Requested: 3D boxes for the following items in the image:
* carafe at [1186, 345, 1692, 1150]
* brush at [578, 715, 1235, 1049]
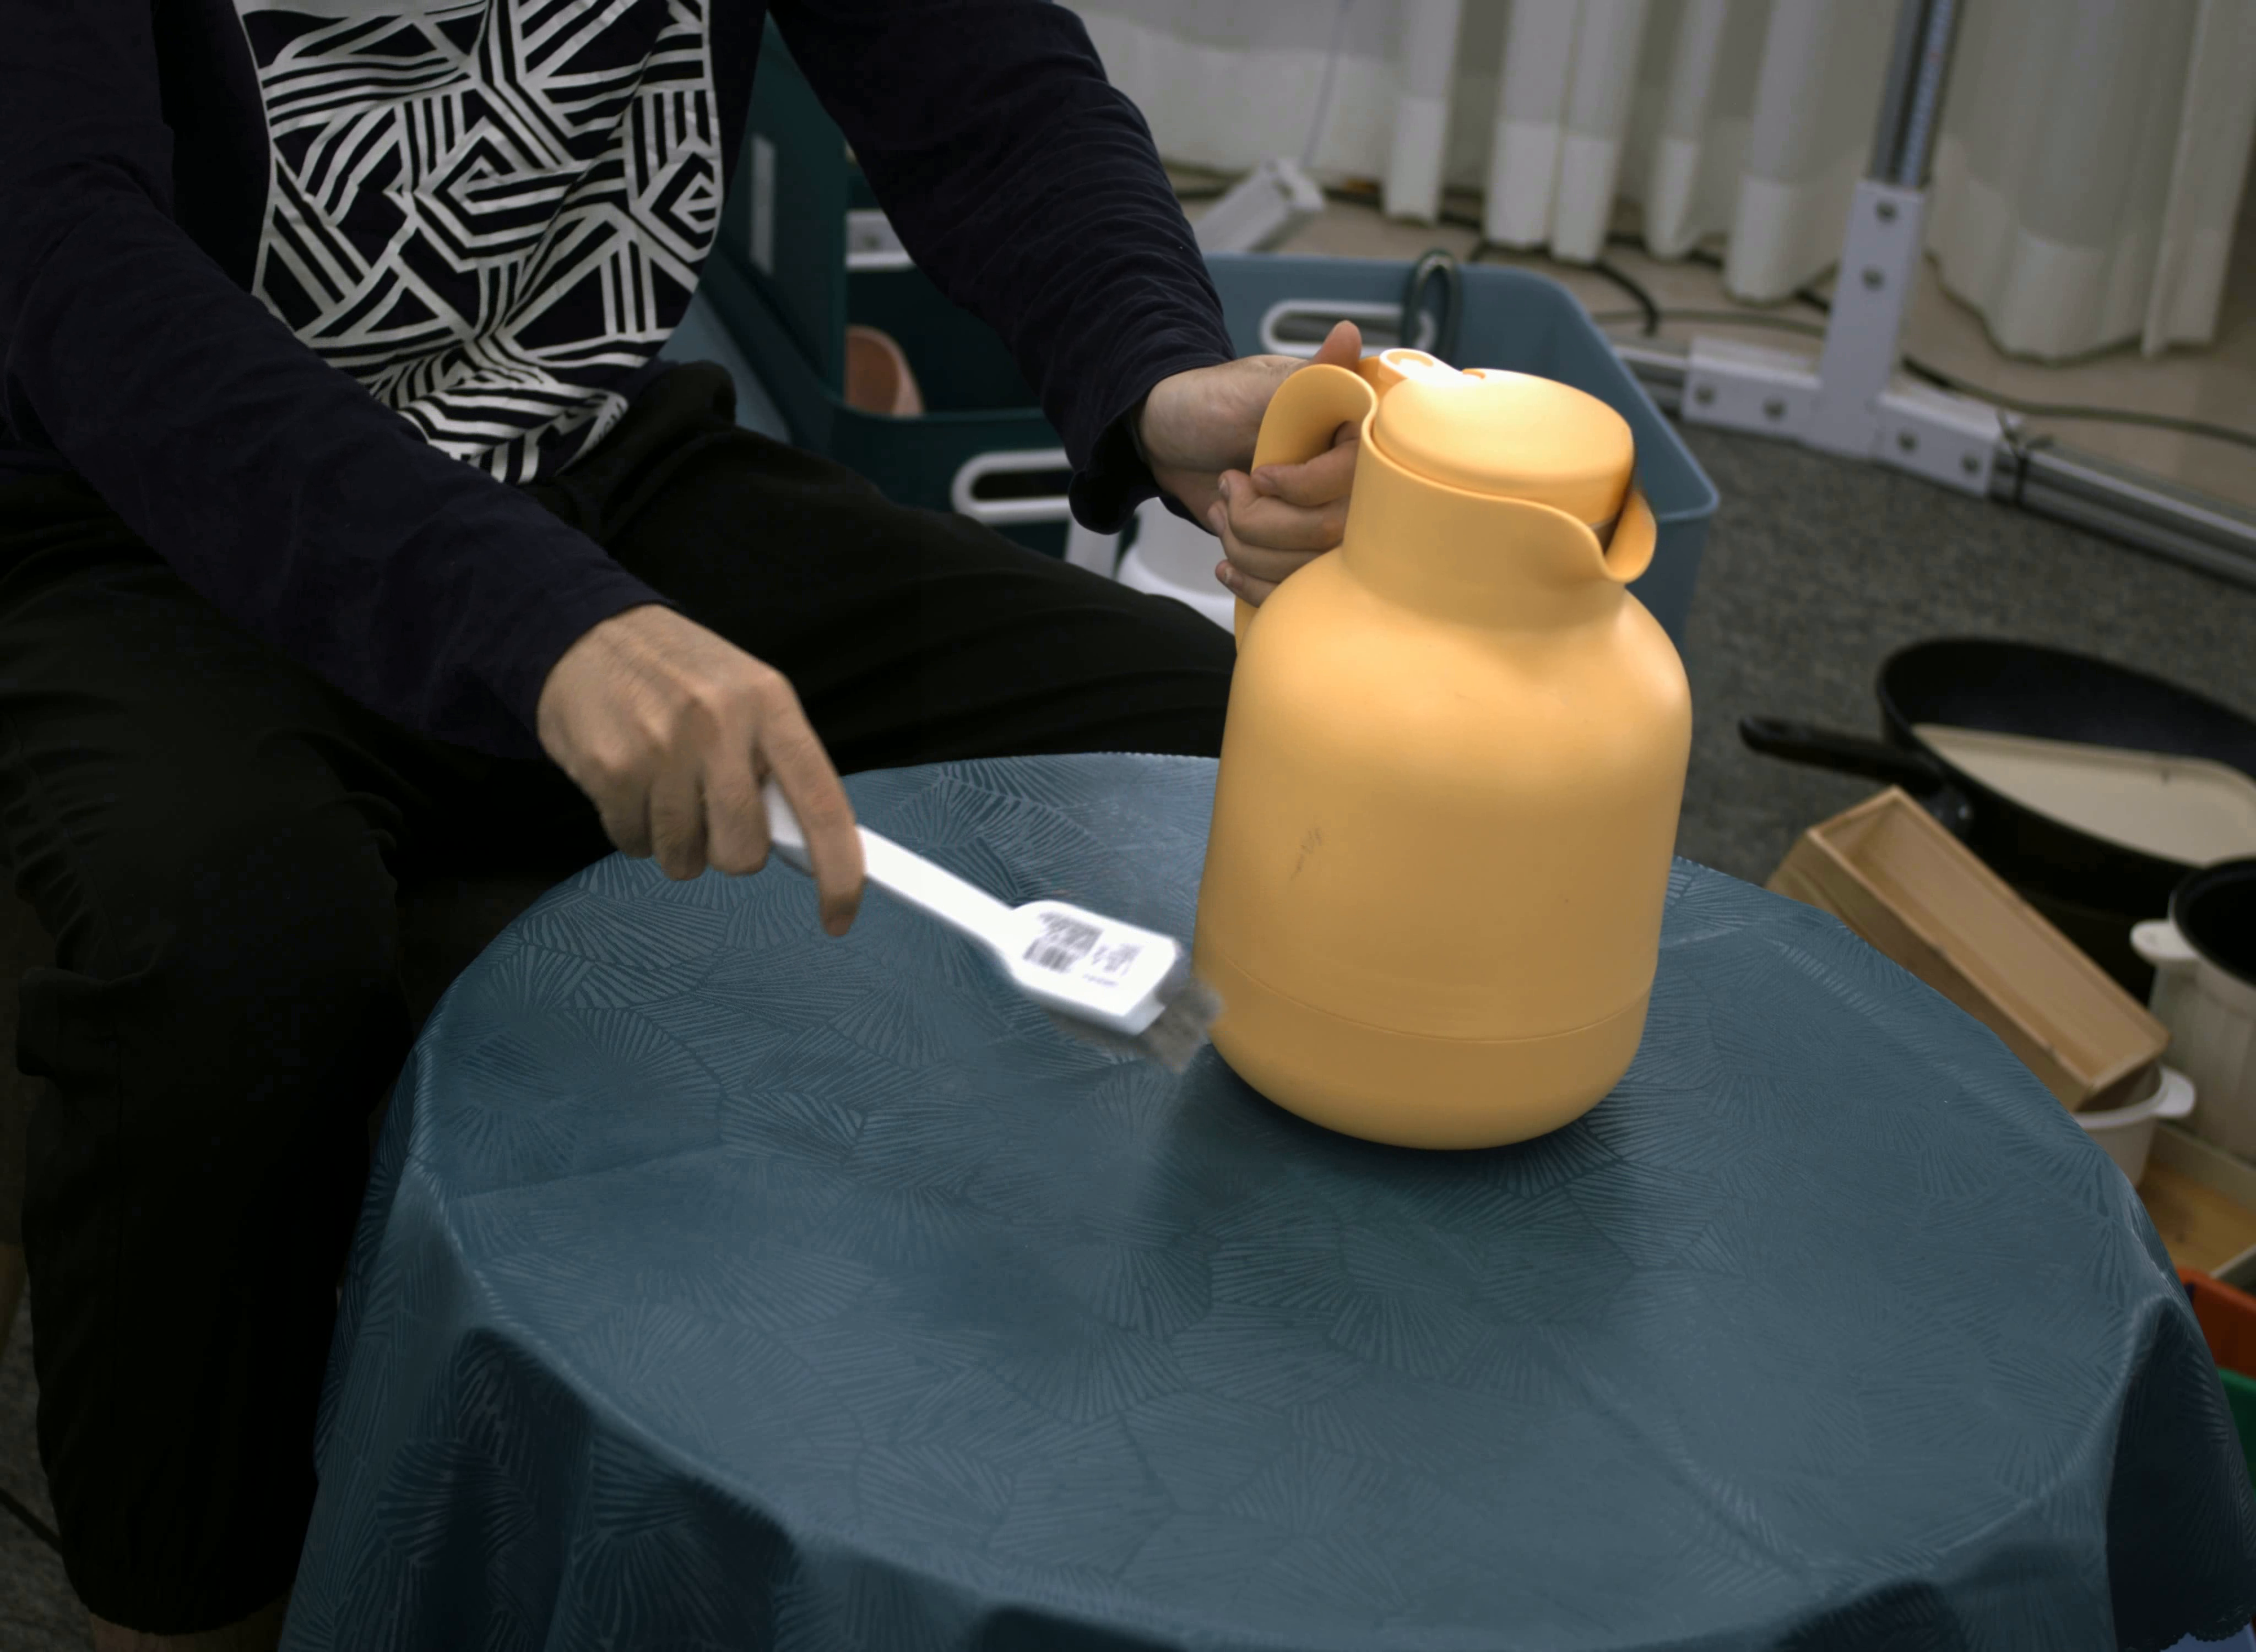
[{"bbox_3d":[0.104,-0.037,1.858,0.162,0.260,0.204,-8,31,-32],"label":"carafe"},{"bbox_3d":[-0.076,0.018,1.782,0.244,0.050,0.034,21,72,22],"label":"brush"}]
